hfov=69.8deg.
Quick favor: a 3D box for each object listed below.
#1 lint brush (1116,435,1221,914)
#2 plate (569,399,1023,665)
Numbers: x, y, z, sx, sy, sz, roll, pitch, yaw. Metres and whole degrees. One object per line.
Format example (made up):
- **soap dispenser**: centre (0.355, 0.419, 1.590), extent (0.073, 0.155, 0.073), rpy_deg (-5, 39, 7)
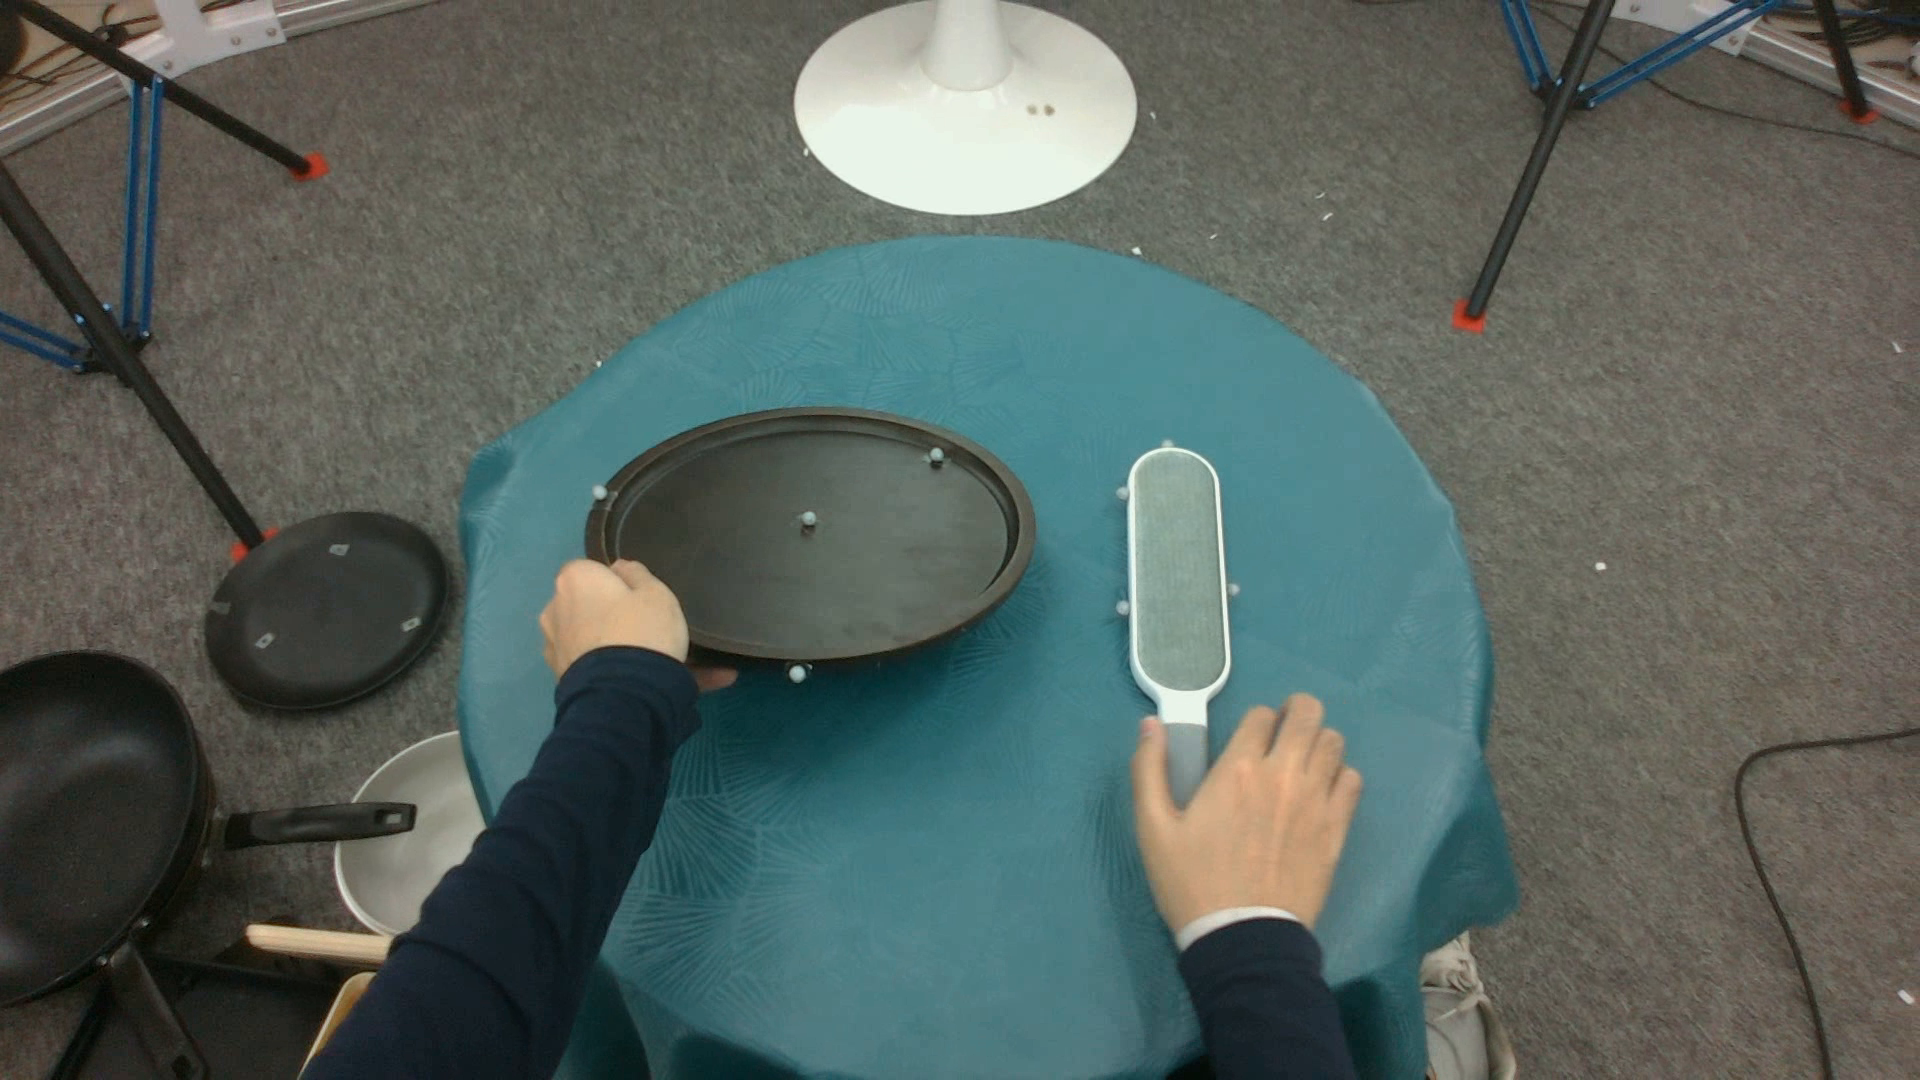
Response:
- **lint brush**: centre (0.118, 0.061, 0.778), extent (0.060, 0.021, 0.310), rpy_deg (7, 54, -4)
- **plate**: centre (-0.090, -0.012, 0.781), extent (0.255, 0.029, 0.256), rpy_deg (2, 34, -1)
